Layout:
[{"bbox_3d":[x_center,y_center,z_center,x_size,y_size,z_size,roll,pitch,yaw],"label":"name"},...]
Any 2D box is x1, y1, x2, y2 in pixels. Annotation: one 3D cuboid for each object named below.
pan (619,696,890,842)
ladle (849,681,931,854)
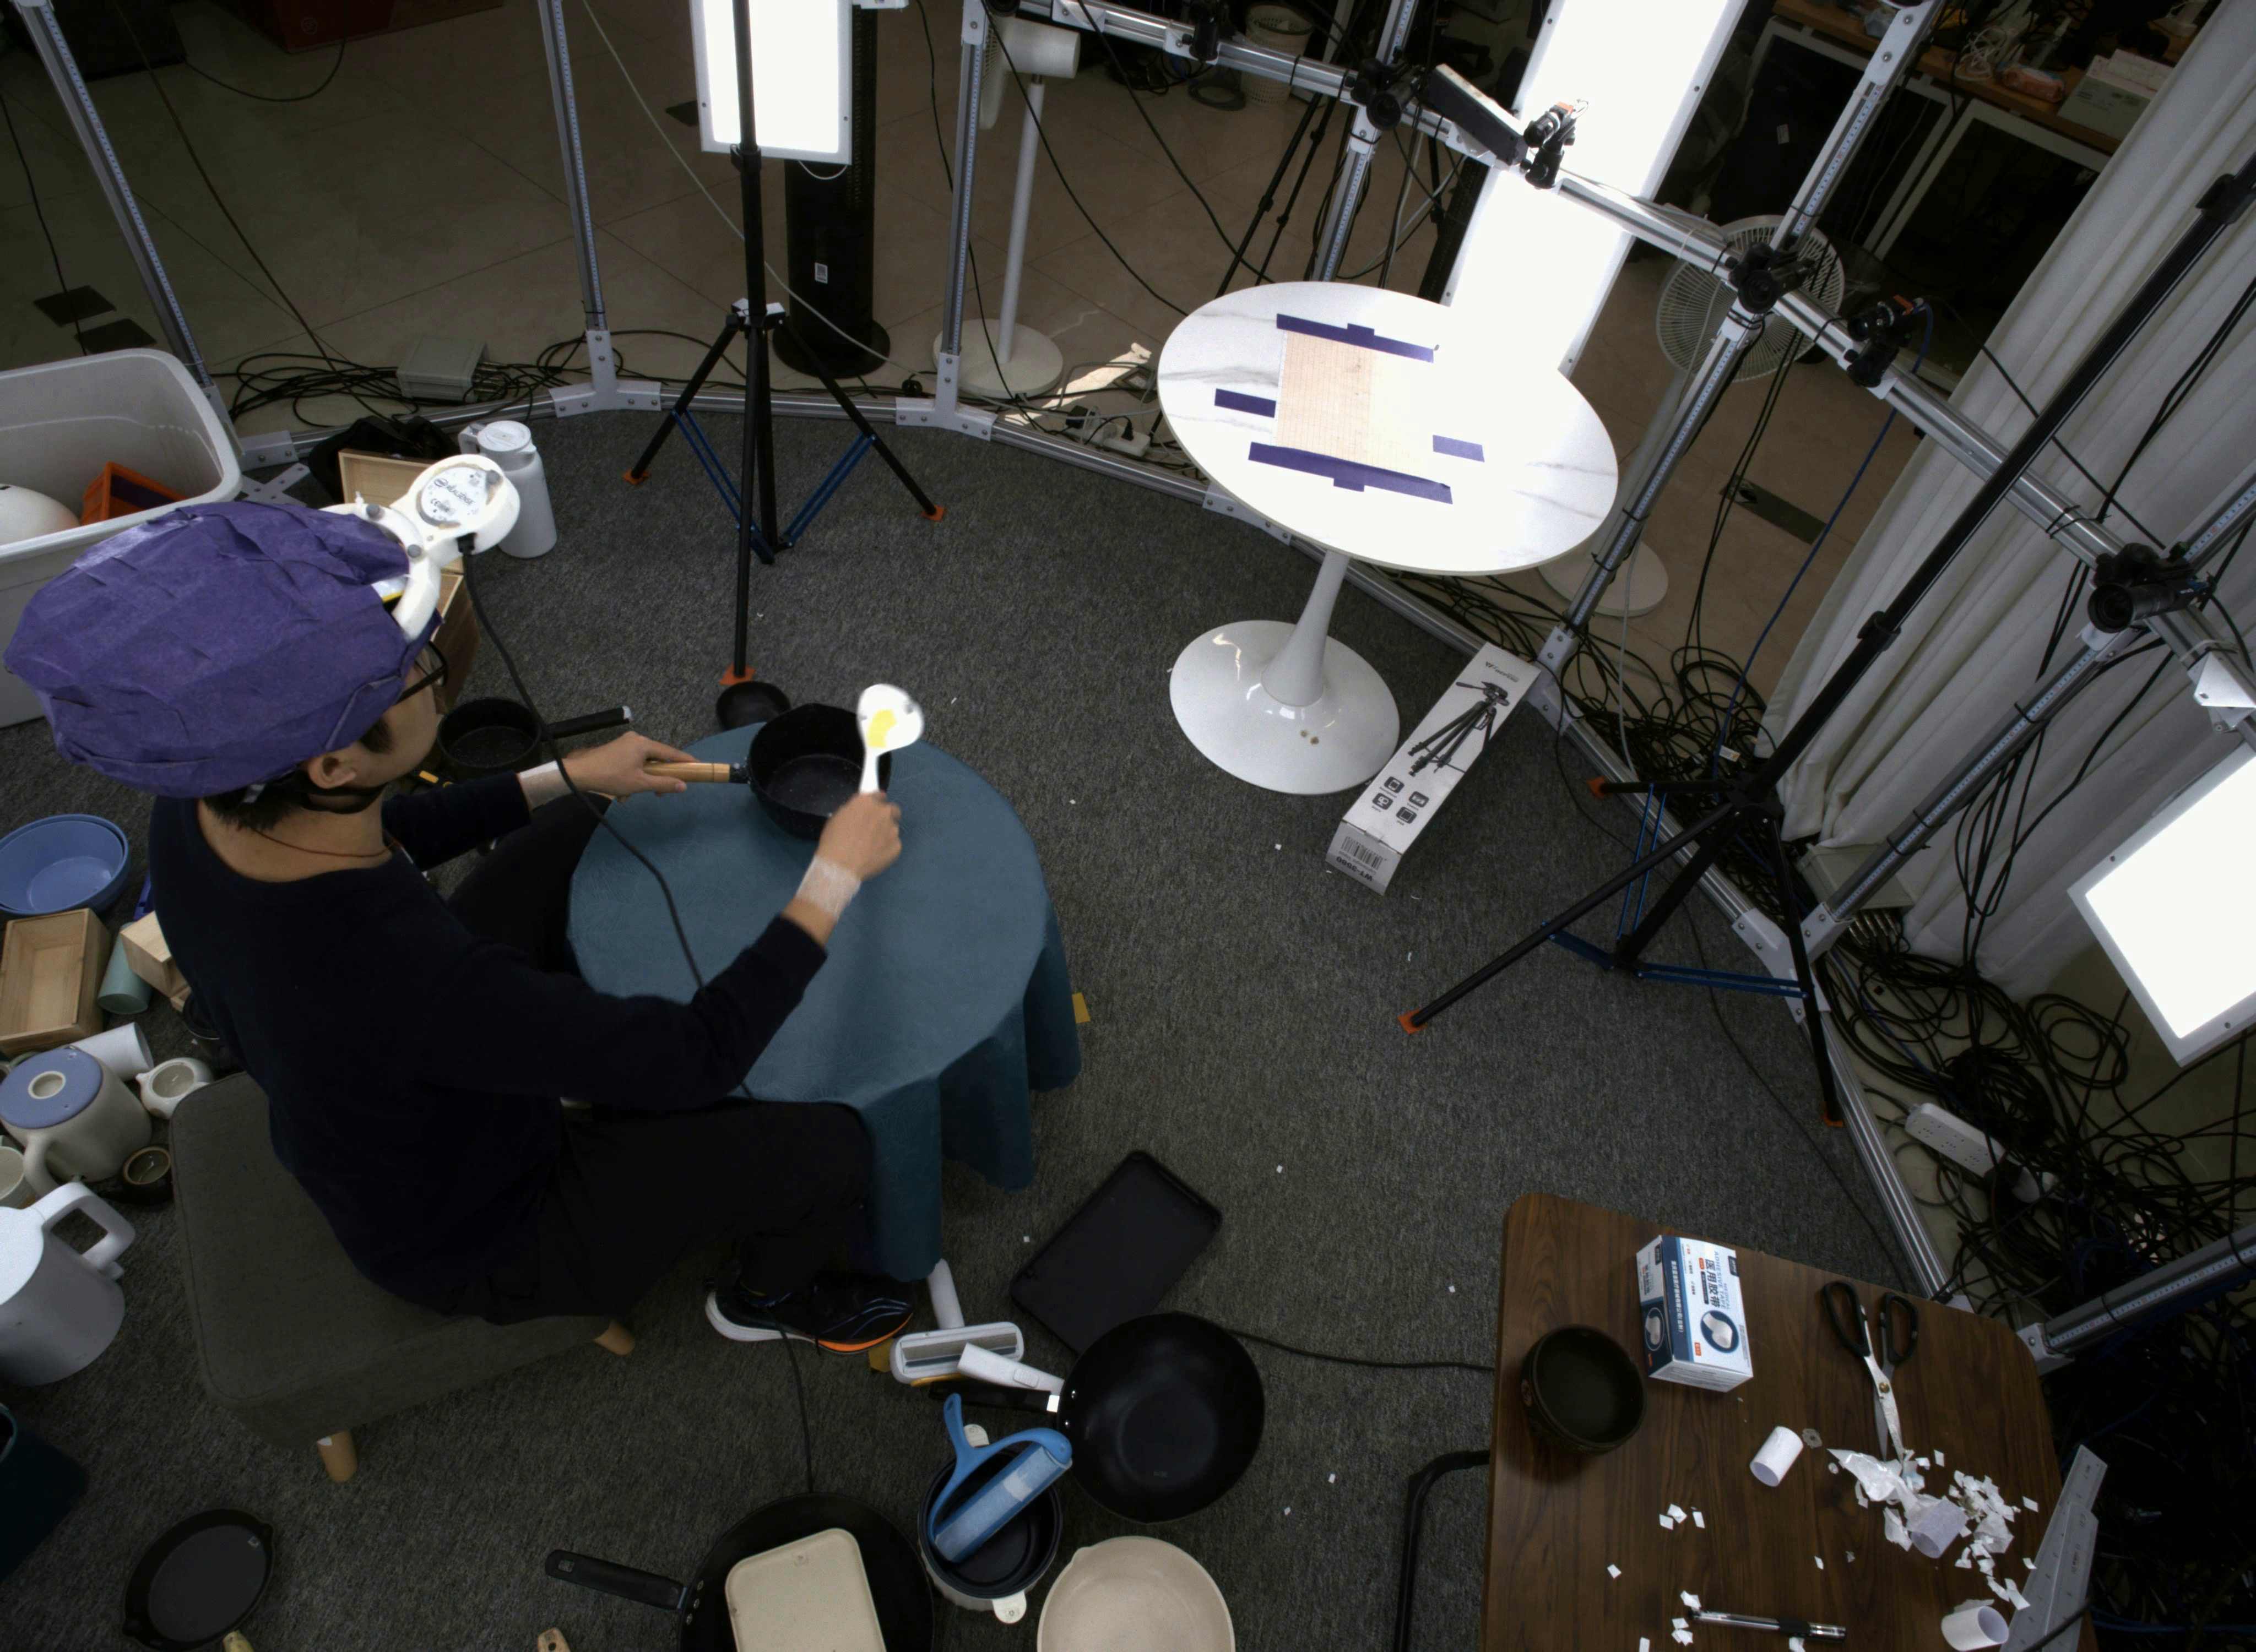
[{"bbox_3d":[-0.481,-0.063,1.676,0.345,0.110,0.202,-7,57,-21],"label":"pan"},{"bbox_3d":[-0.291,-0.073,1.565,0.093,0.069,0.286,44,22,-27],"label":"ladle"}]
